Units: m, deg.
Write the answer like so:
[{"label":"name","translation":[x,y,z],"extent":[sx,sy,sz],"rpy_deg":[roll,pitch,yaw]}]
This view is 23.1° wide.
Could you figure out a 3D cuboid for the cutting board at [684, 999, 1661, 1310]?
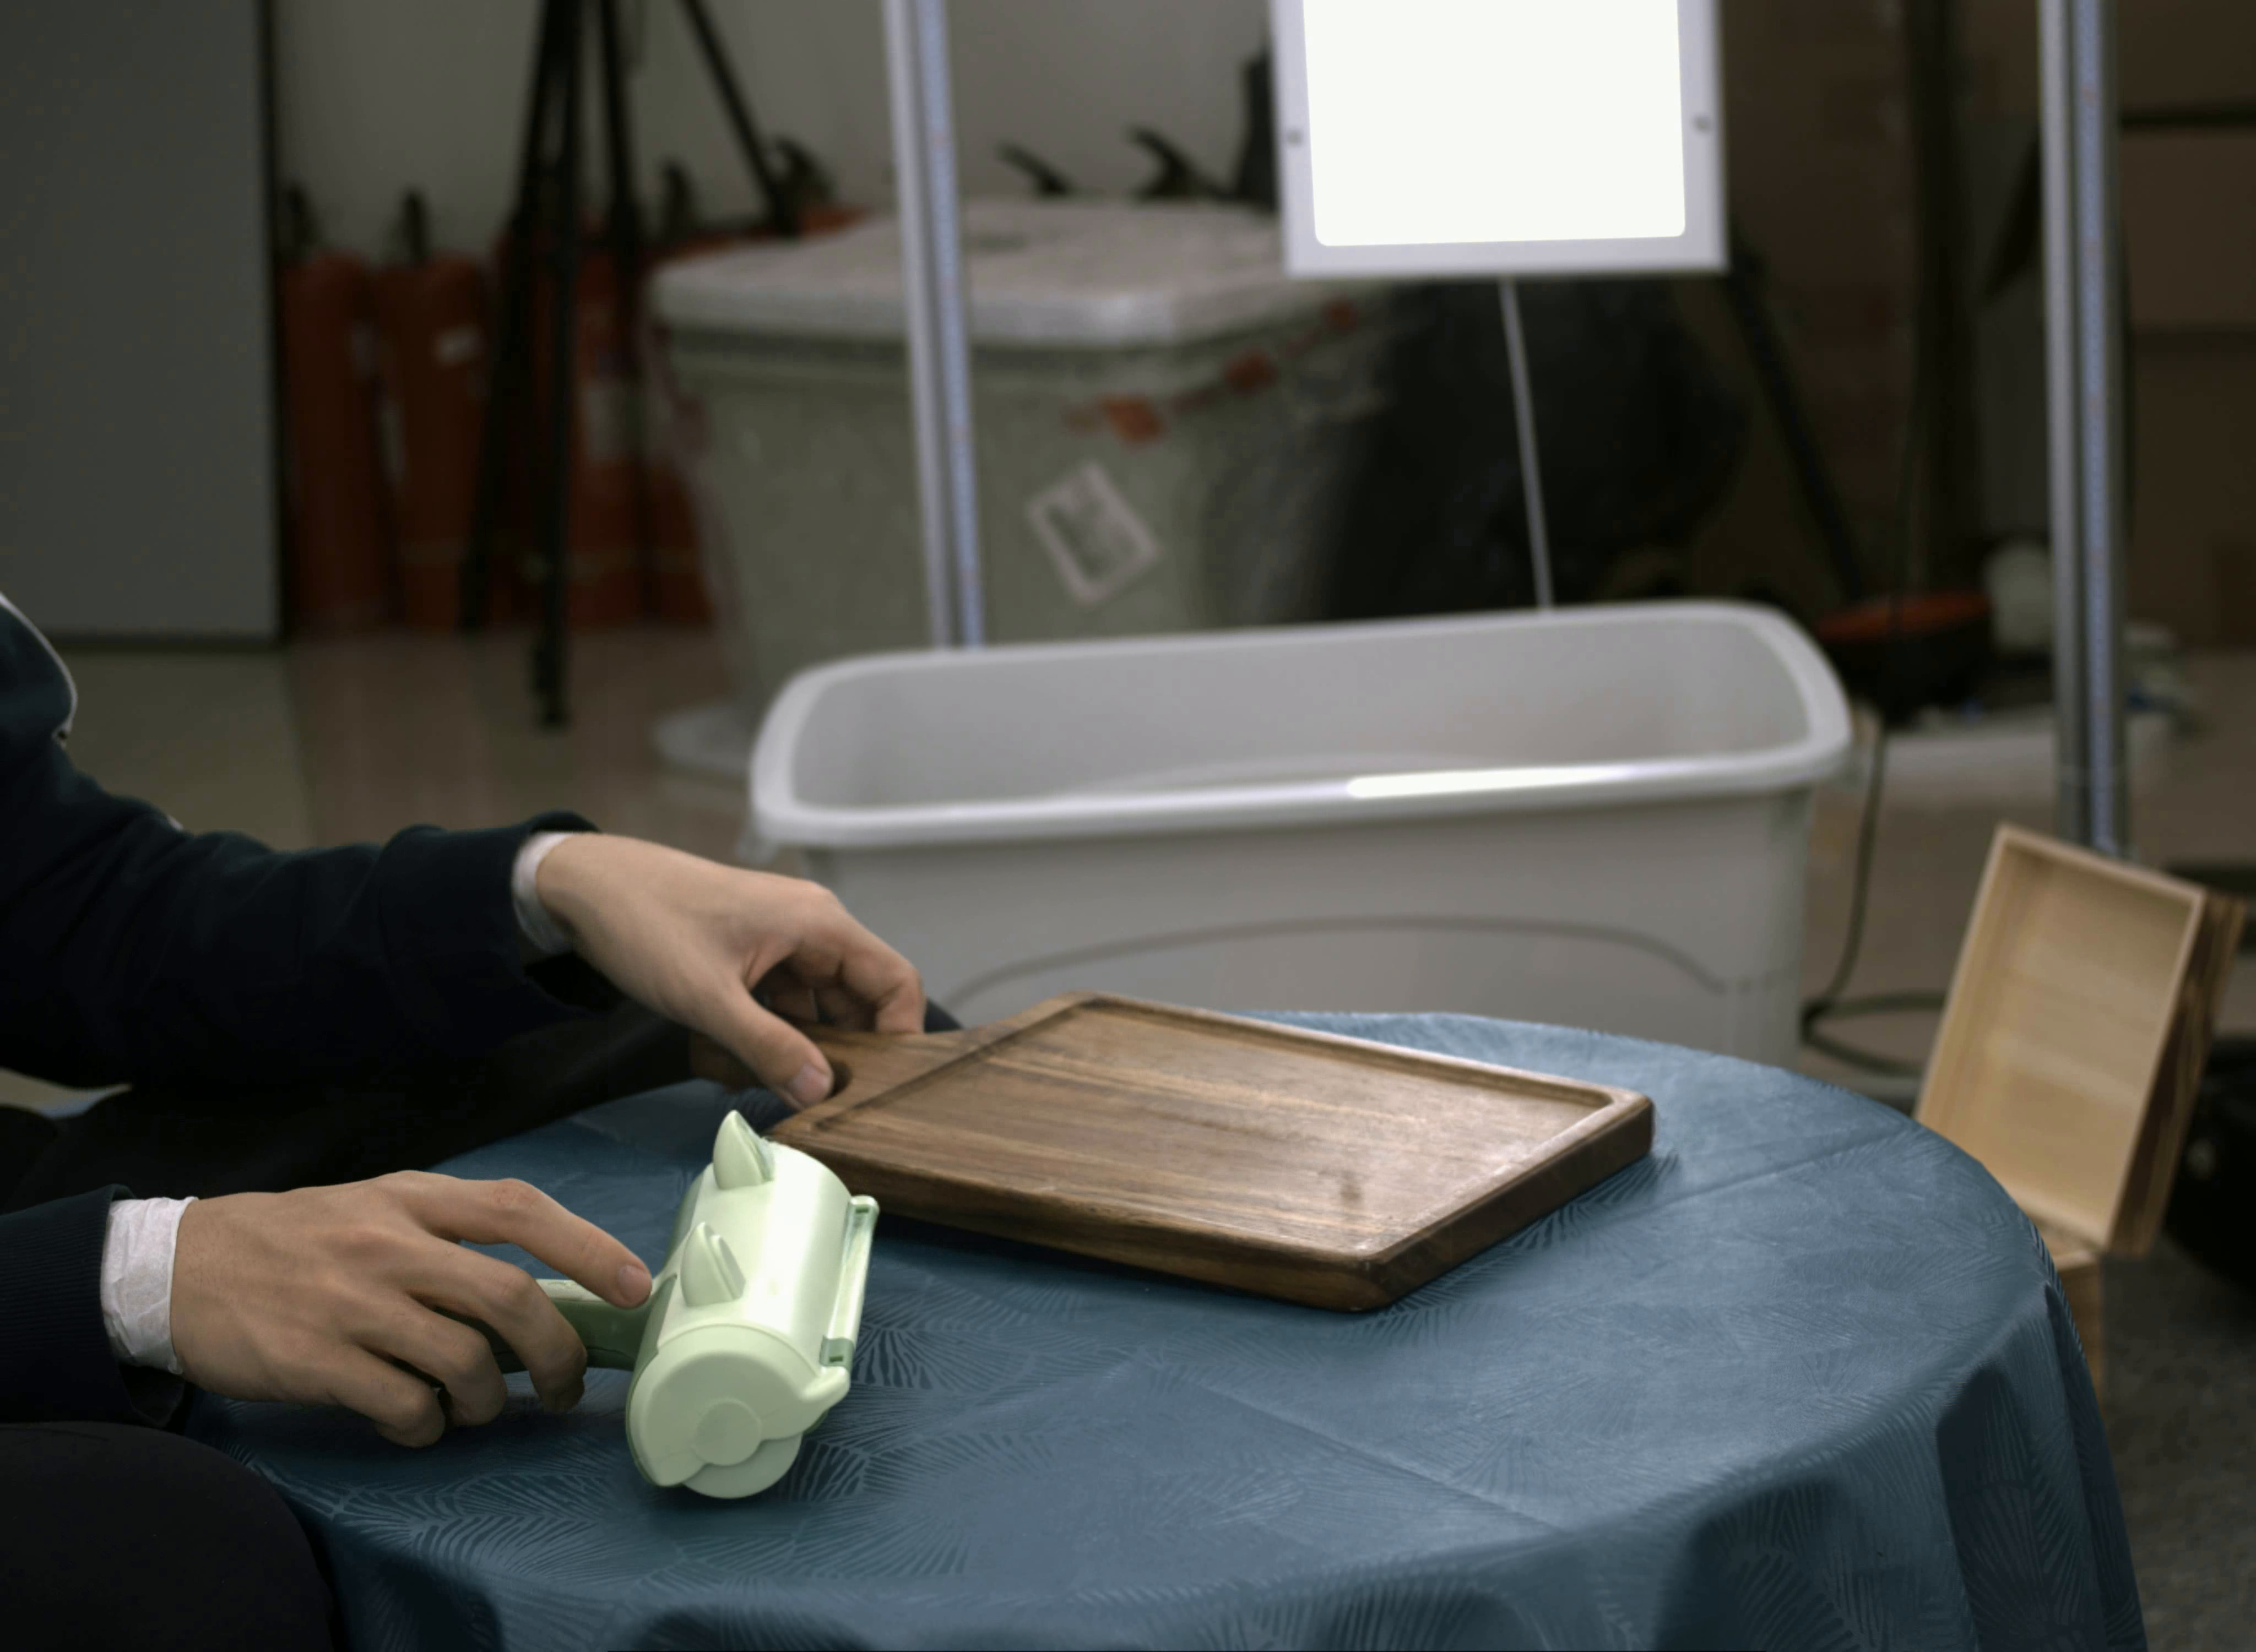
[{"label":"cutting board","translation":[-0.010,0.103,1.917],"extent":[0.359,0.023,0.196],"rpy_deg":[8,18,35]}]

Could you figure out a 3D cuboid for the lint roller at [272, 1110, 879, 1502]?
[{"label":"lint roller","translation":[-0.173,0.141,1.713],"extent":[0.183,0.082,0.198],"rpy_deg":[4,14,1]}]
